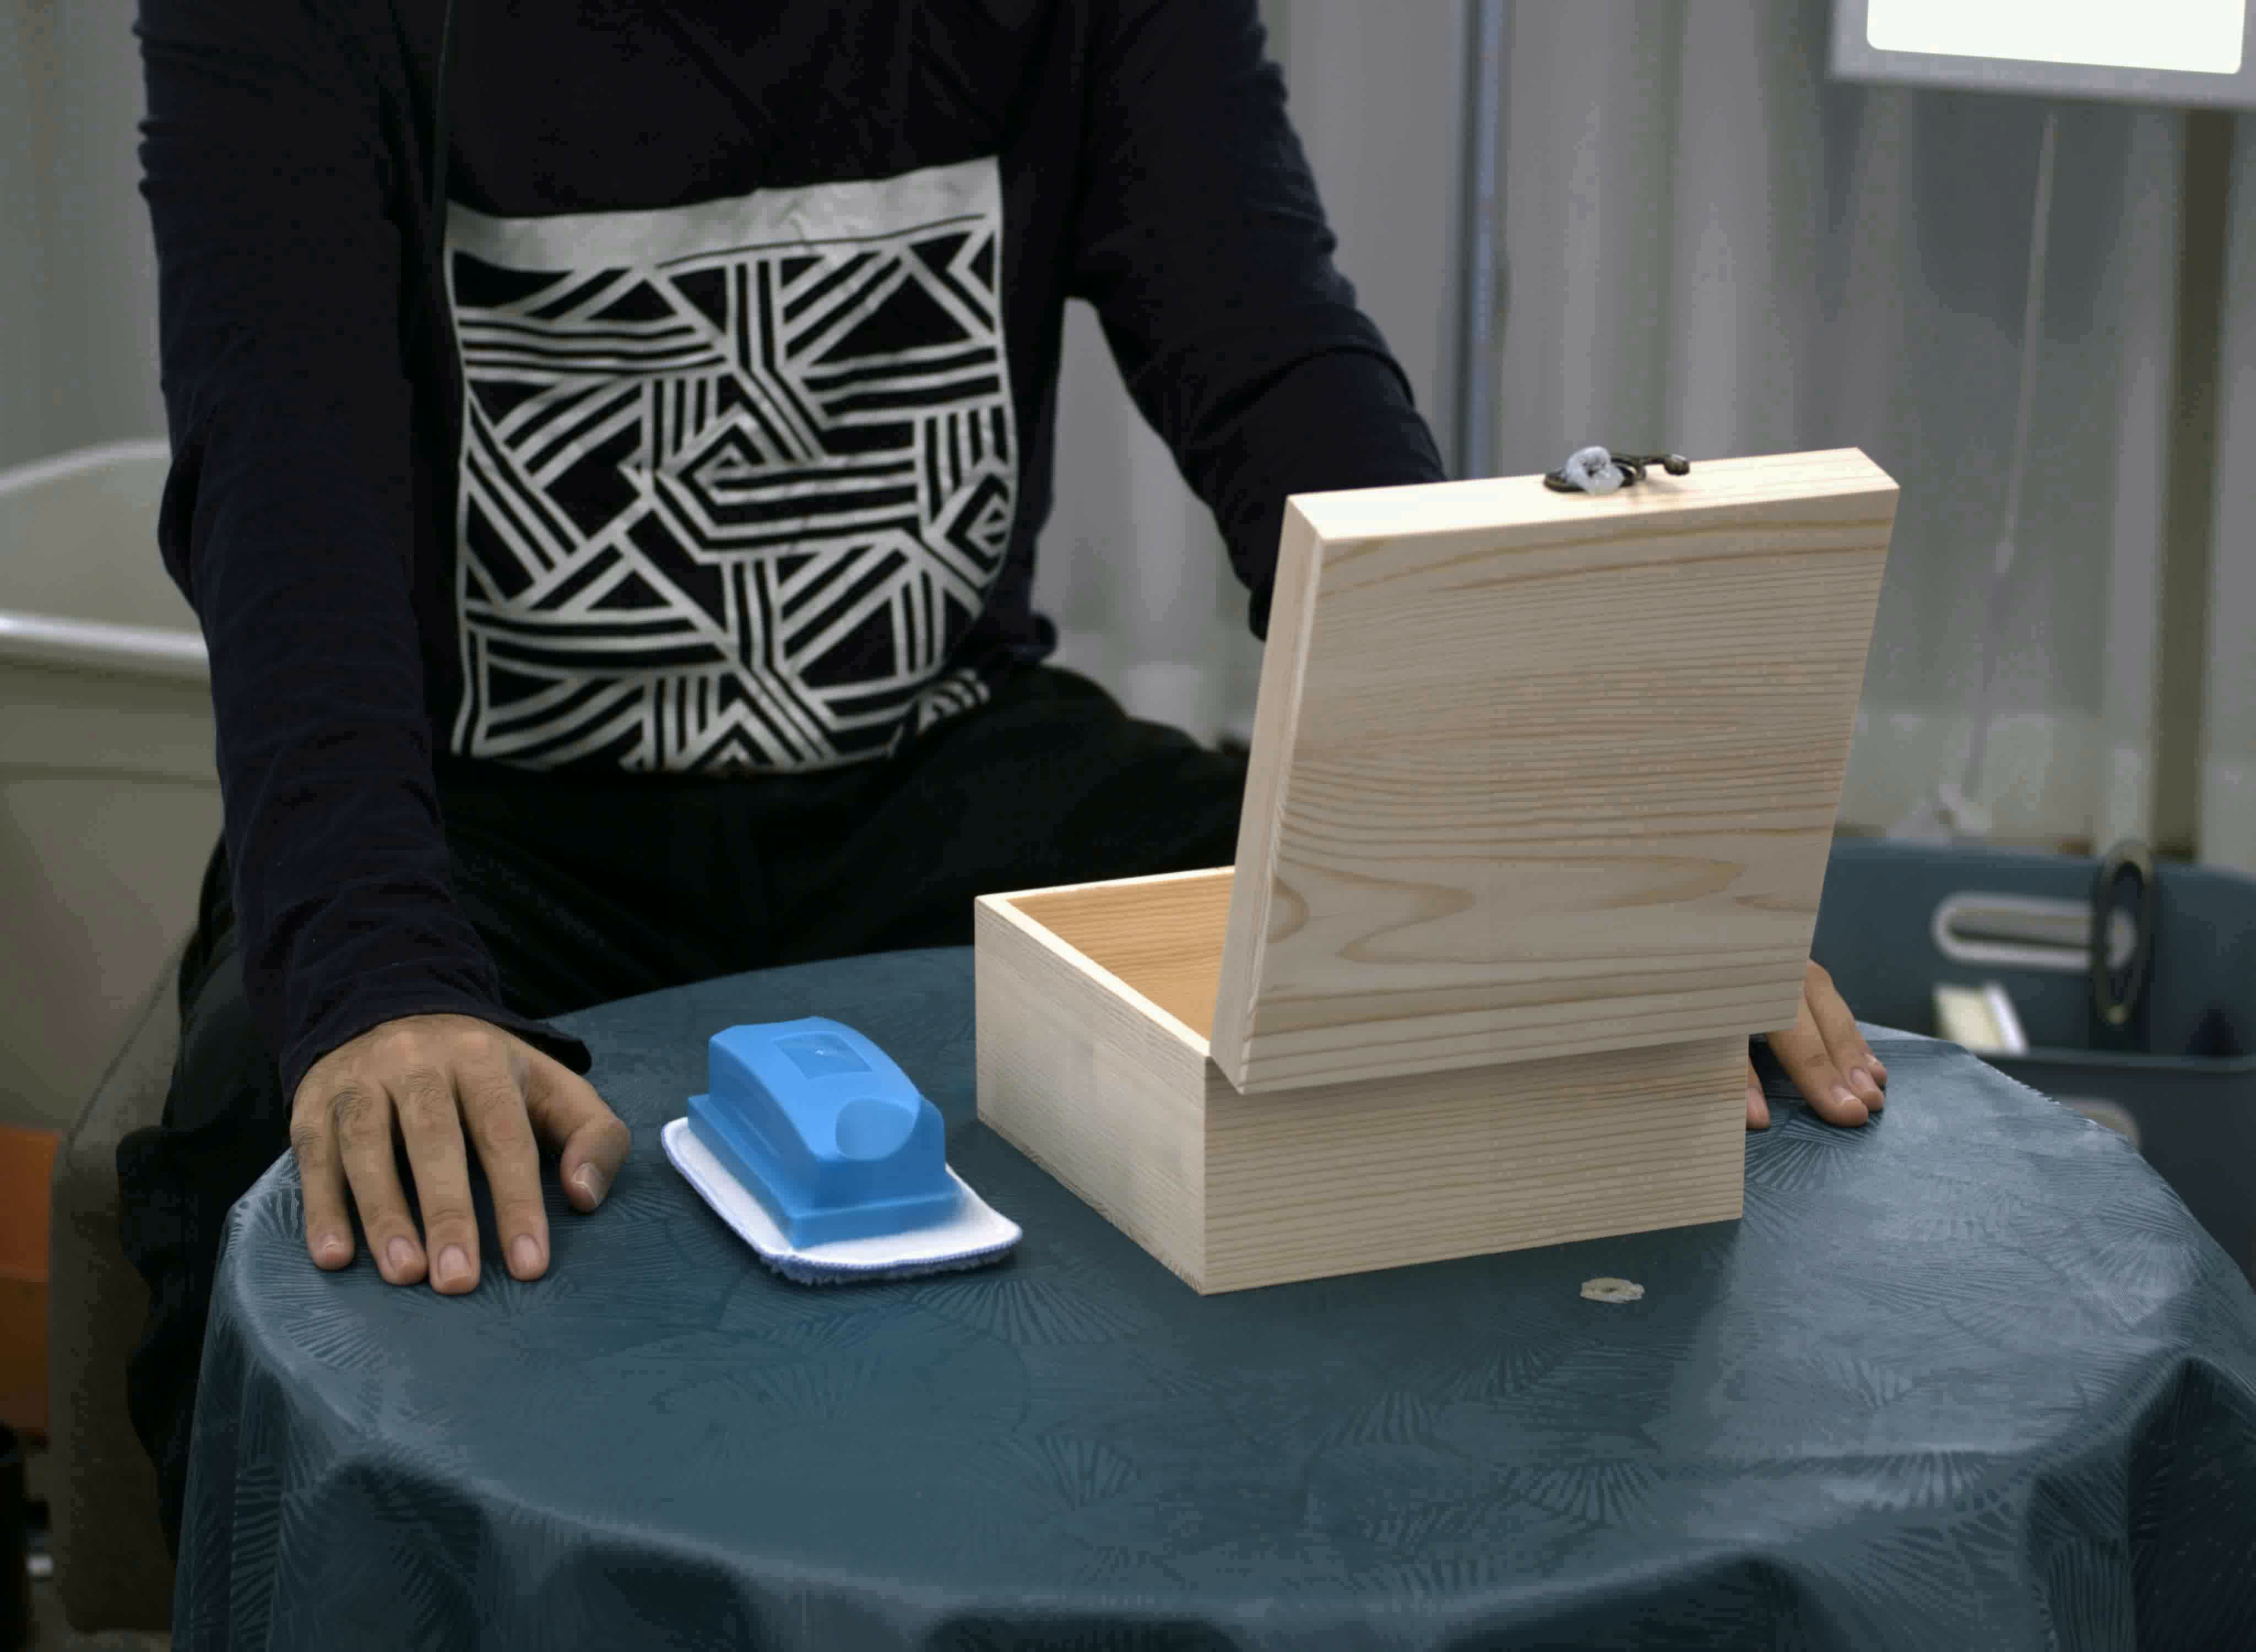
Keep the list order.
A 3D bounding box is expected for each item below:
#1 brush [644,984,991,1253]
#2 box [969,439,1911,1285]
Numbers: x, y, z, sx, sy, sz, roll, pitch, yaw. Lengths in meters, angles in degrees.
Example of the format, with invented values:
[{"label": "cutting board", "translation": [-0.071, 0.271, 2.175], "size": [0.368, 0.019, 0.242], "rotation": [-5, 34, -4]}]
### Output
[{"label": "brush", "translation": [-0.093, 0.086, 1.602], "size": [0.084, 0.056, 0.142], "rotation": [-1, 17, -19]}, {"label": "box", "translation": [0.083, -0.006, 1.584], "size": [0.182, 0.255, 0.262], "rotation": [-6, 17, -24]}]
